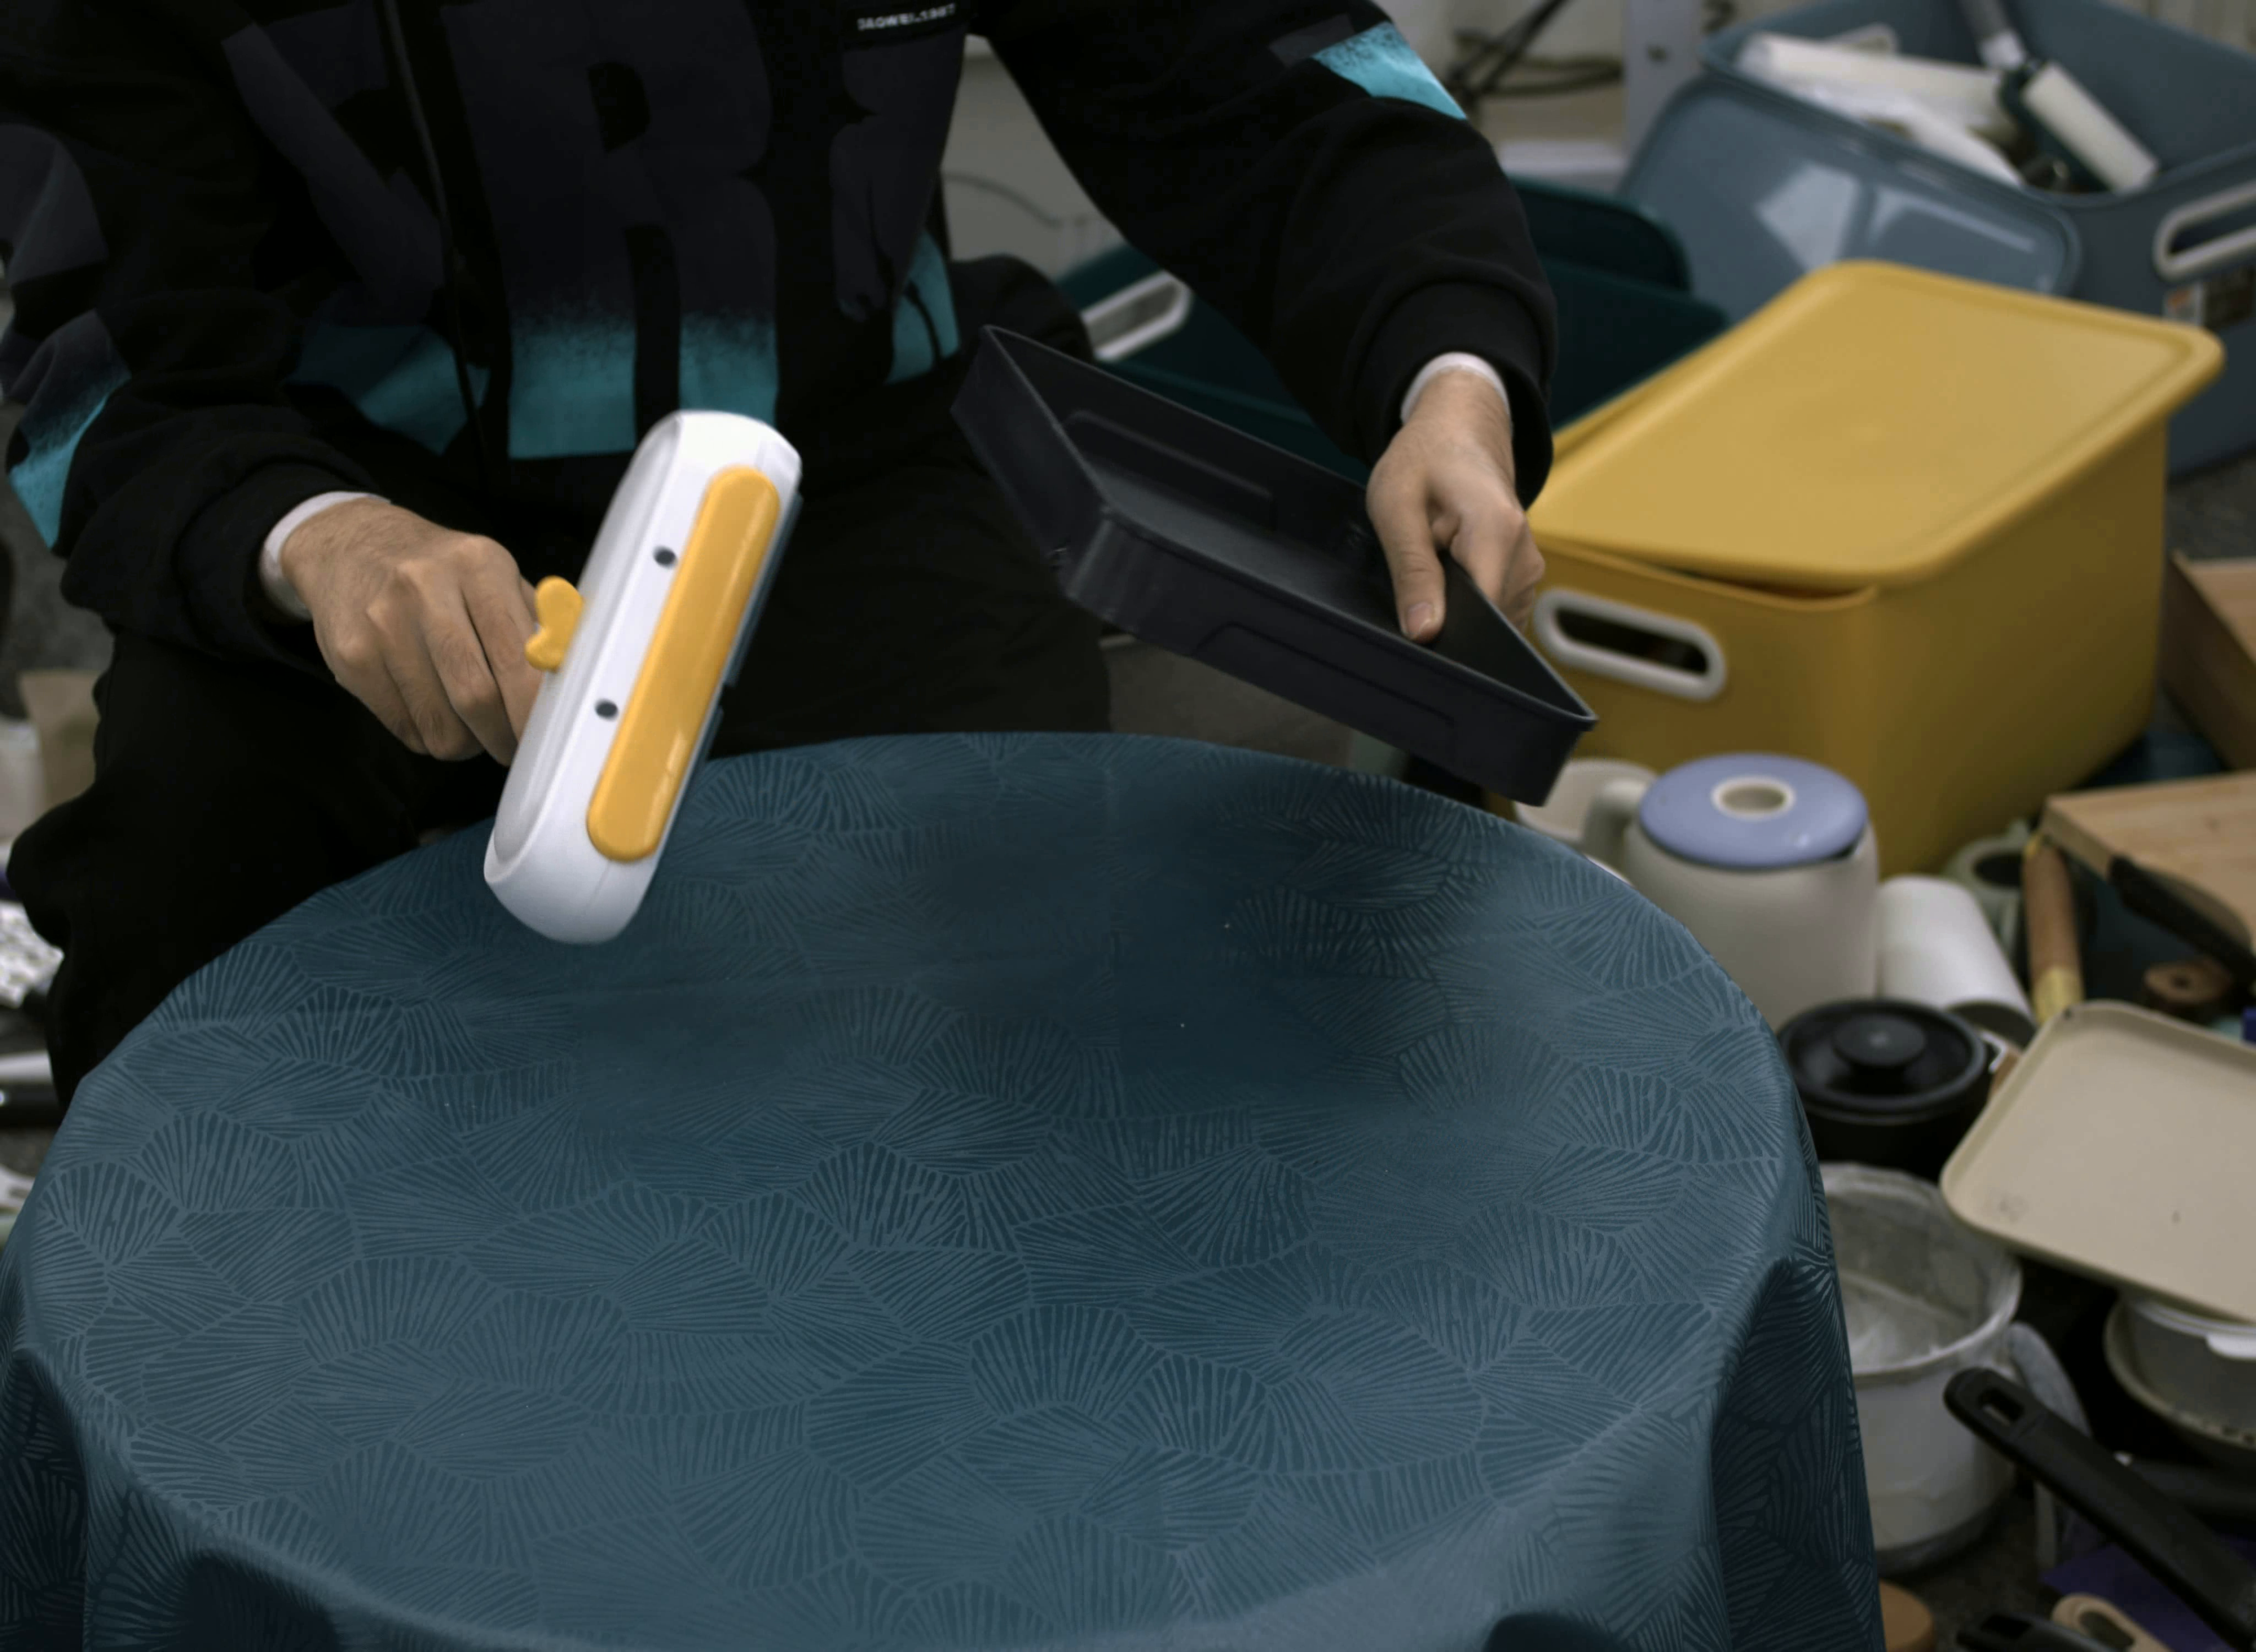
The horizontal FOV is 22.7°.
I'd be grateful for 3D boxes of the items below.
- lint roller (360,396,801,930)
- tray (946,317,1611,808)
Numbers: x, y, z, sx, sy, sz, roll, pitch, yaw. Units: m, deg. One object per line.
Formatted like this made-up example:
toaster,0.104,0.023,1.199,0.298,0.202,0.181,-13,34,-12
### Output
lint roller,-0.201,-0.052,1.971,0.074,0.196,0.190,25,-21,-30
tray,0.045,-0.096,1.956,0.183,0.037,0.320,23,11,-17
